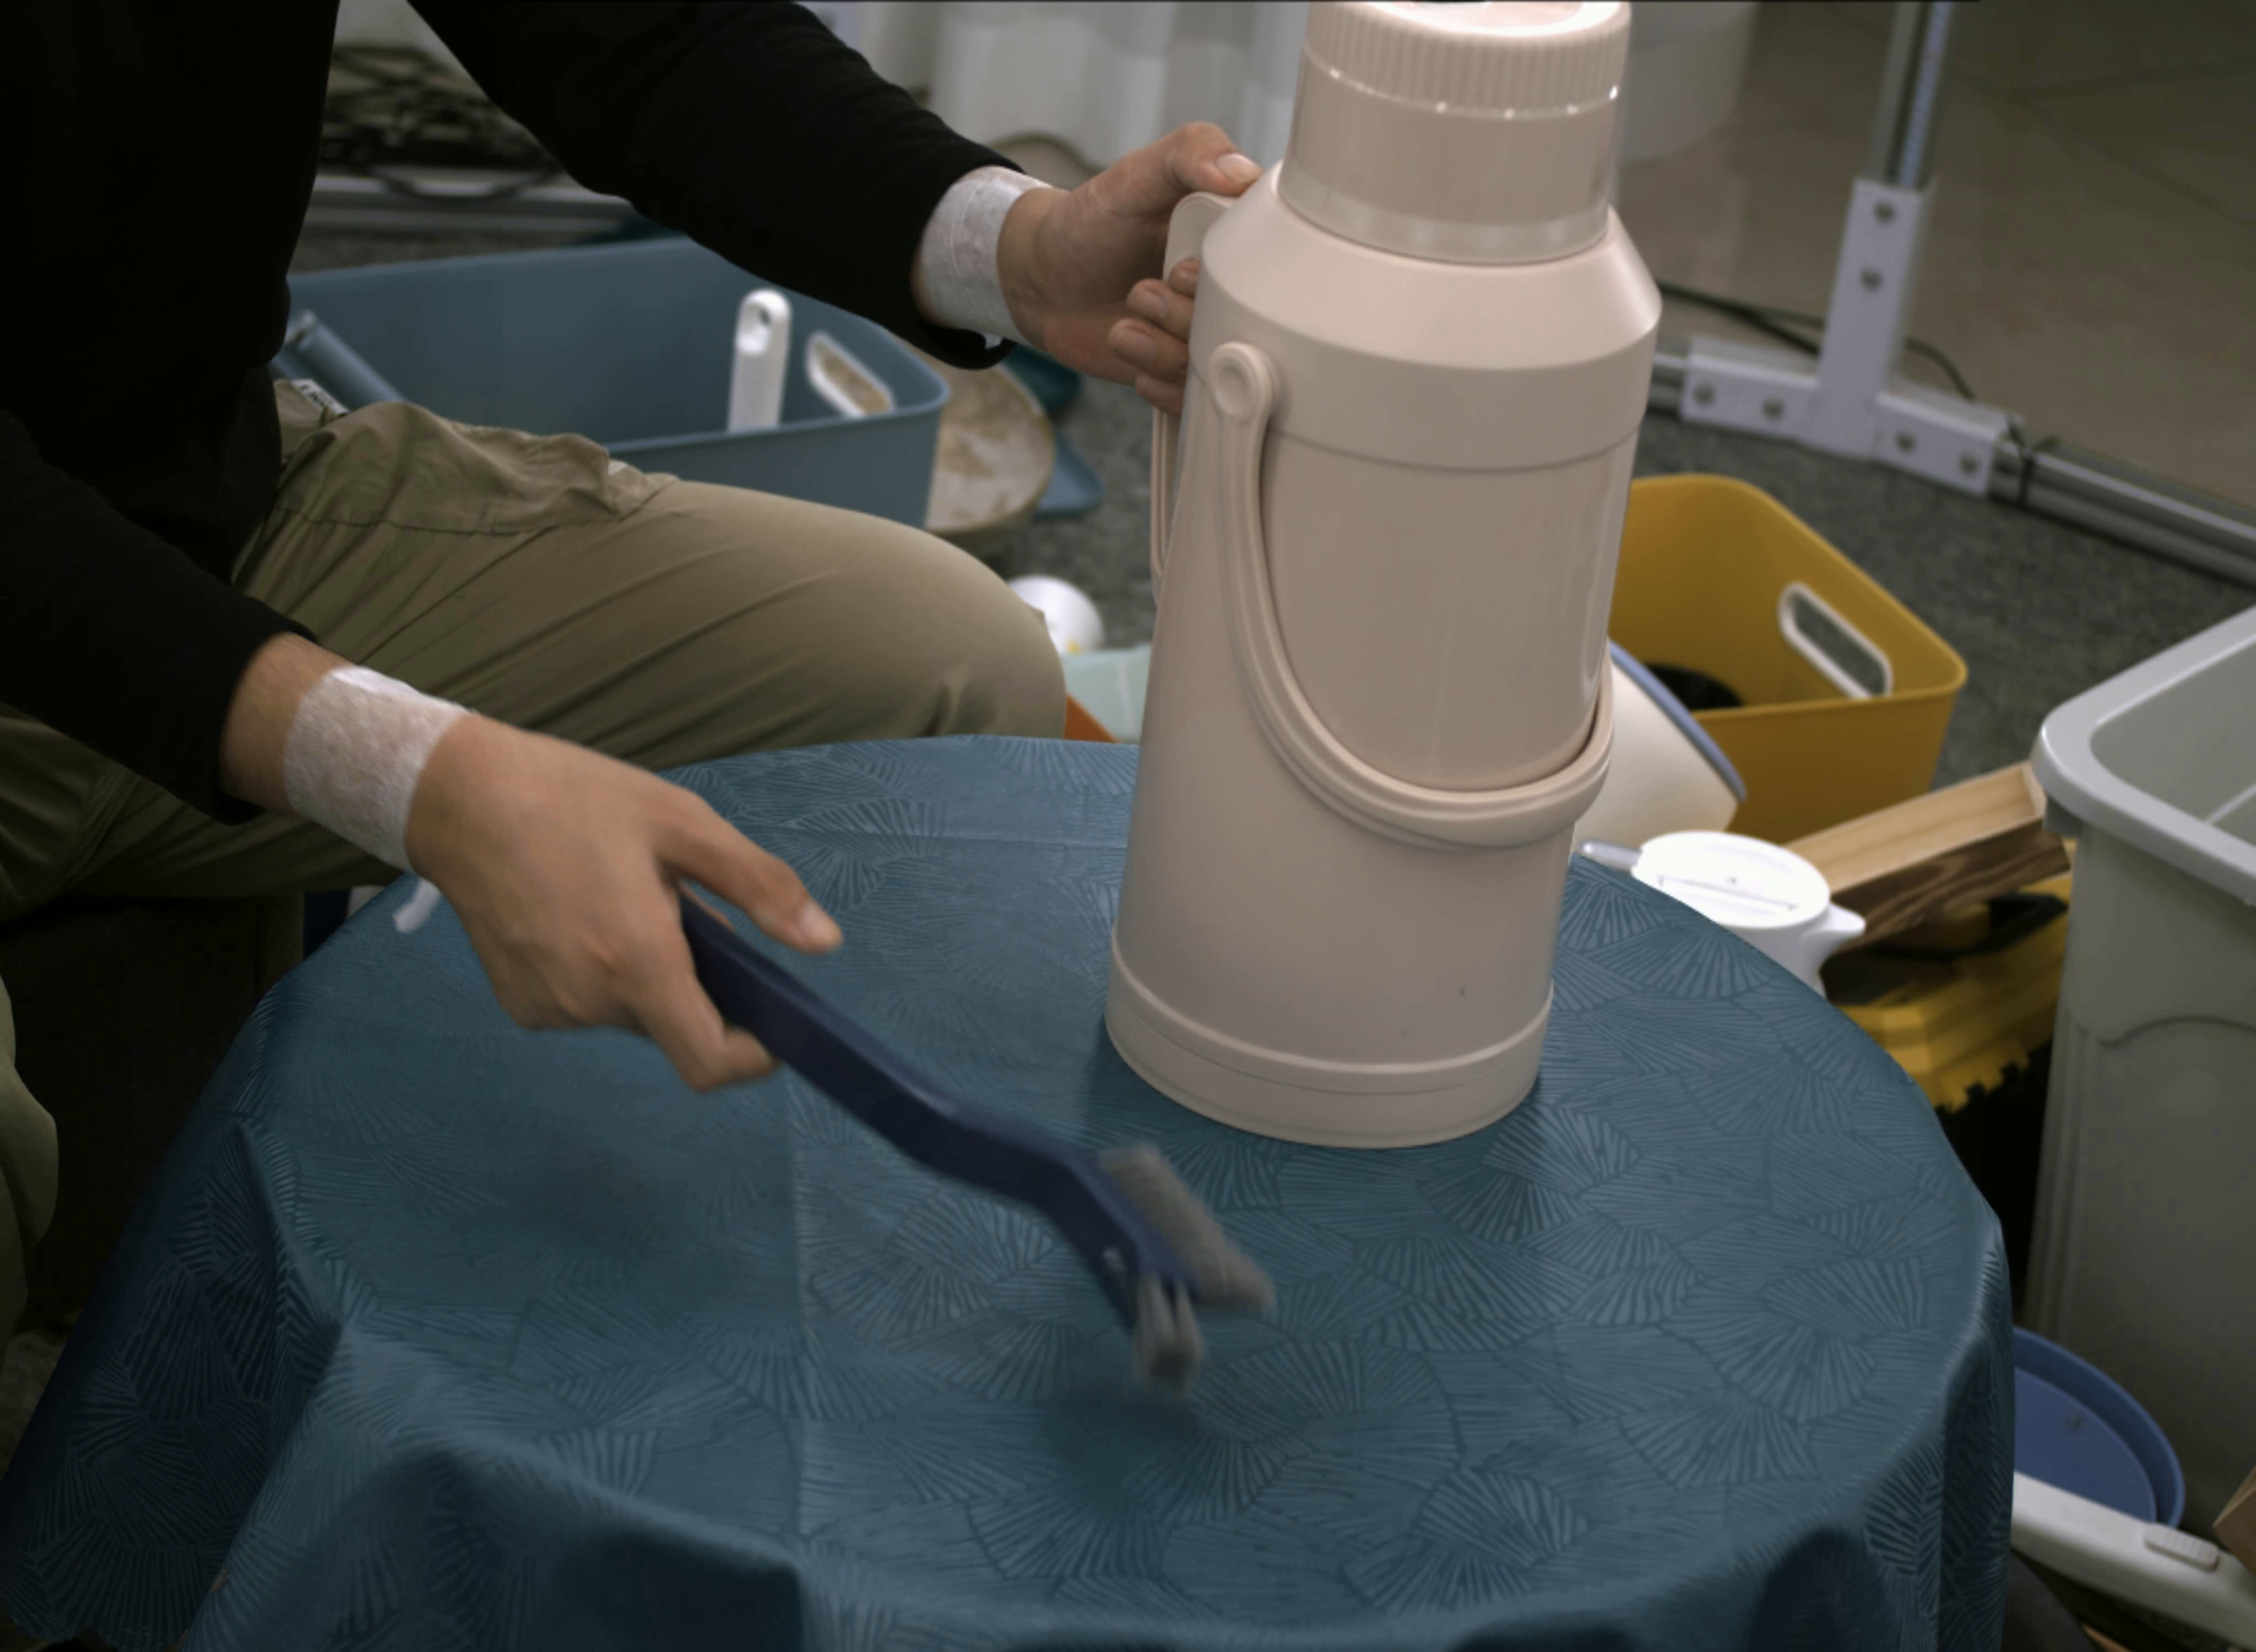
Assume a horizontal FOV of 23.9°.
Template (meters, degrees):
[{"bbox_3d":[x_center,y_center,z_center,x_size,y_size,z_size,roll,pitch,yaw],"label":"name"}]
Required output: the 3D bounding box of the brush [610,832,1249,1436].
[{"bbox_3d":[-0.076,0.093,1.684,0.274,0.033,0.095,32,33,21],"label":"brush"}]

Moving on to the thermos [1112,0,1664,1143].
[{"bbox_3d":[0.084,-0.107,1.836,0.174,0.405,0.209,-18,36,-38],"label":"thermos"}]
